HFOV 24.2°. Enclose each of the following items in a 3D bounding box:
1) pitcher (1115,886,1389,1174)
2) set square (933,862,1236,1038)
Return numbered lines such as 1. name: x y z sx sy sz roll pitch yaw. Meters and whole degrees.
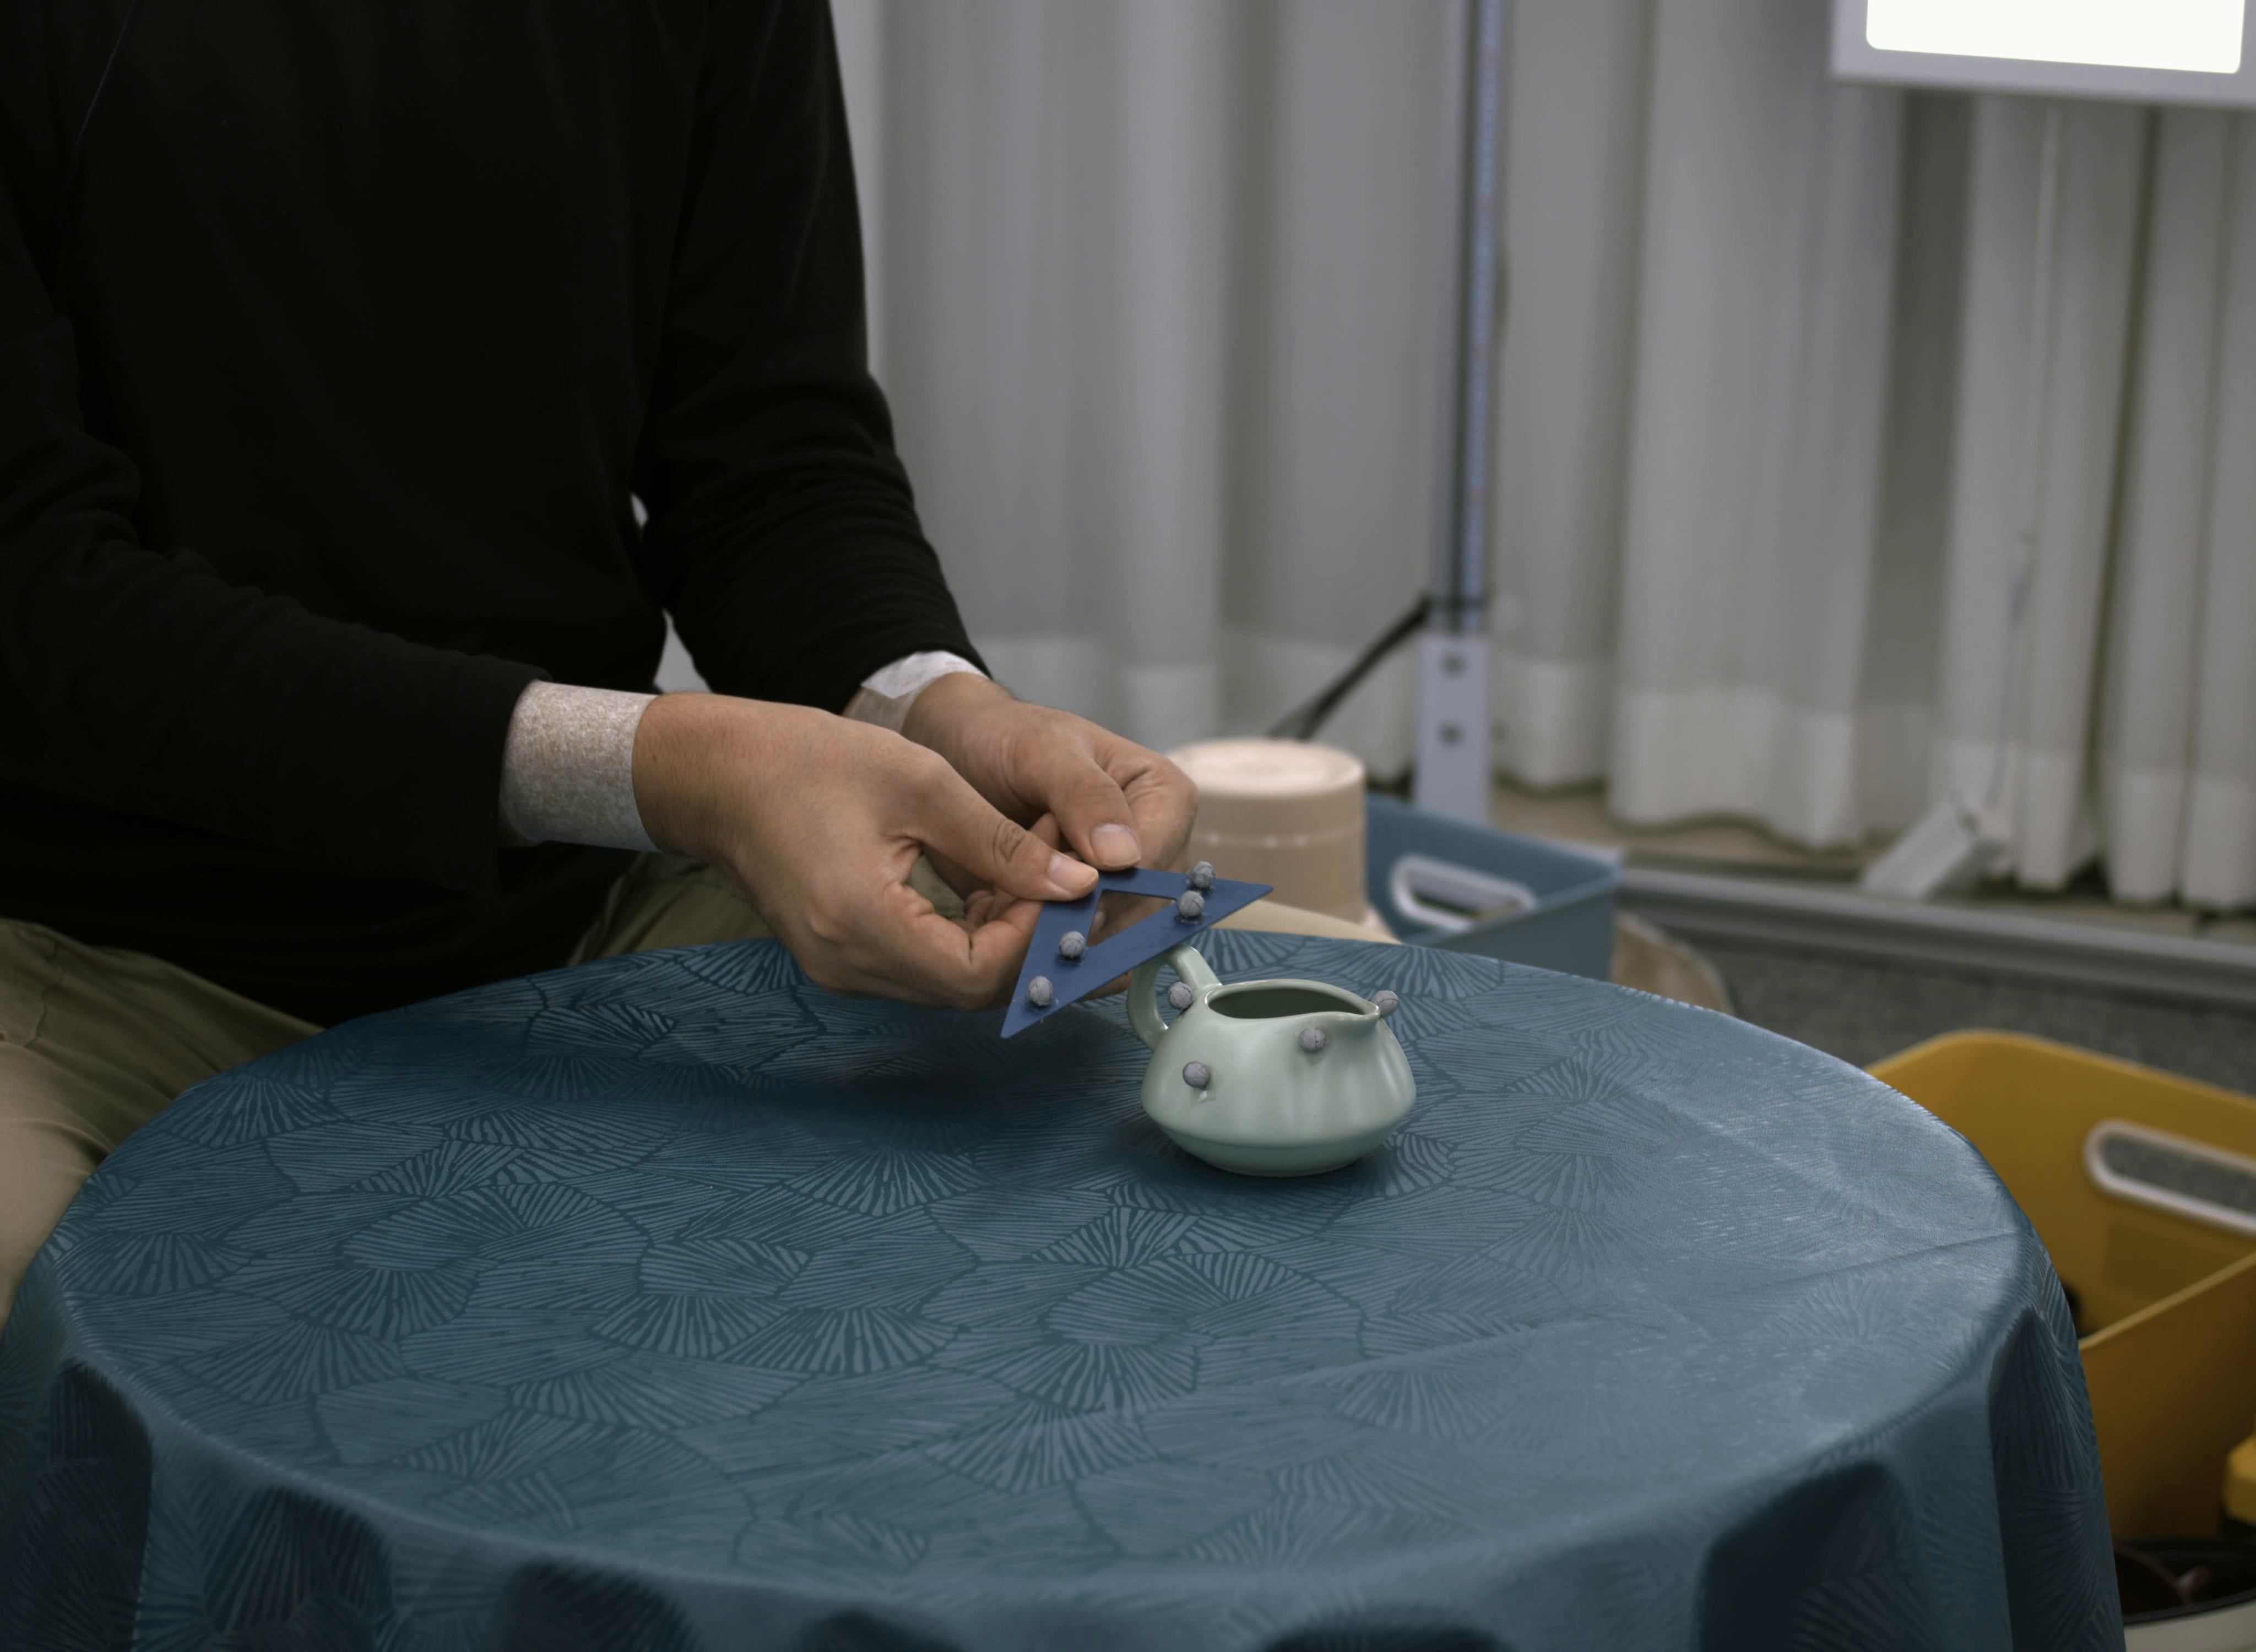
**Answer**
1. pitcher: 0.034 0.065 1.663 0.086 0.061 0.106 -17 39 -23
2. set square: -0.028 0.034 1.661 0.060 0.006 0.132 28 36 33
